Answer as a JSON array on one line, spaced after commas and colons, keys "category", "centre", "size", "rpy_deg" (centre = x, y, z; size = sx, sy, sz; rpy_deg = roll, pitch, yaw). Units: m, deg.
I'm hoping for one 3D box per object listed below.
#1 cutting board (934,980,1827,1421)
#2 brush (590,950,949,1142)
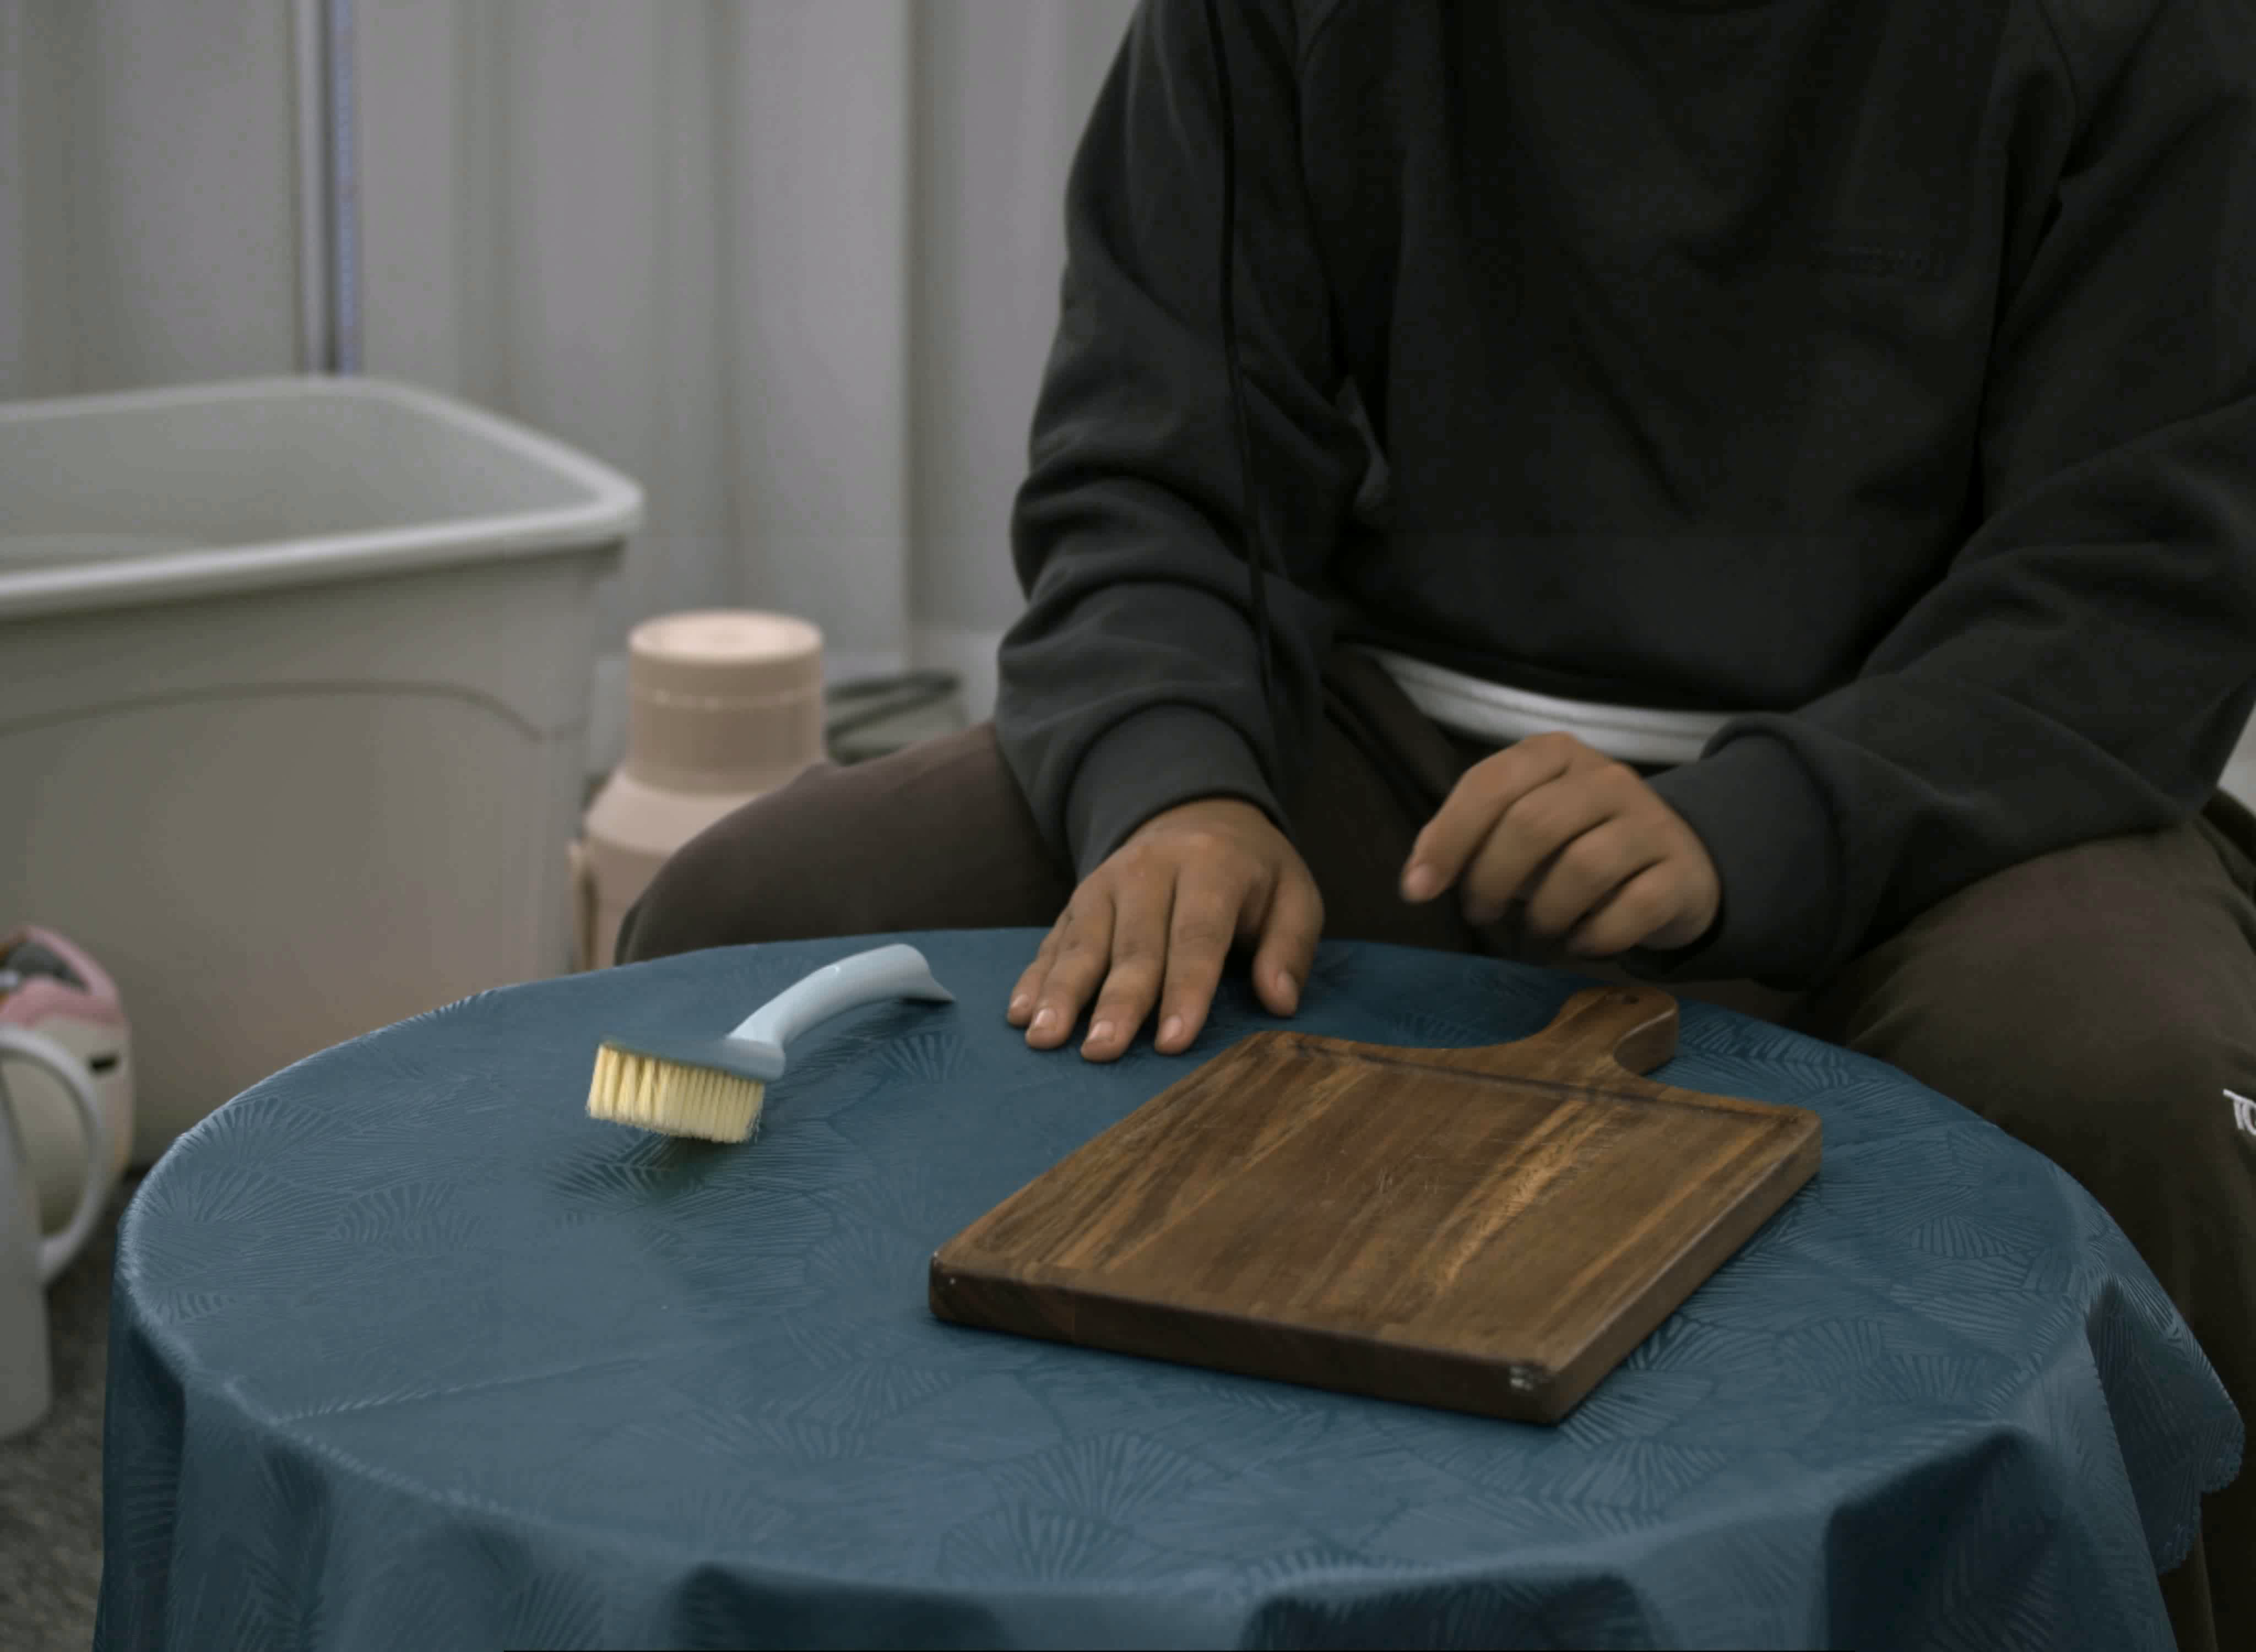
[{"category": "cutting board", "centre": [0.102, 0.103, 1.626], "size": [0.199, 0.023, 0.353], "rpy_deg": [8, 17, 23]}, {"category": "brush", "centre": [-0.113, 0.072, 1.712], "size": [0.037, 0.050, 0.229], "rpy_deg": [9, 8, 20]}]
